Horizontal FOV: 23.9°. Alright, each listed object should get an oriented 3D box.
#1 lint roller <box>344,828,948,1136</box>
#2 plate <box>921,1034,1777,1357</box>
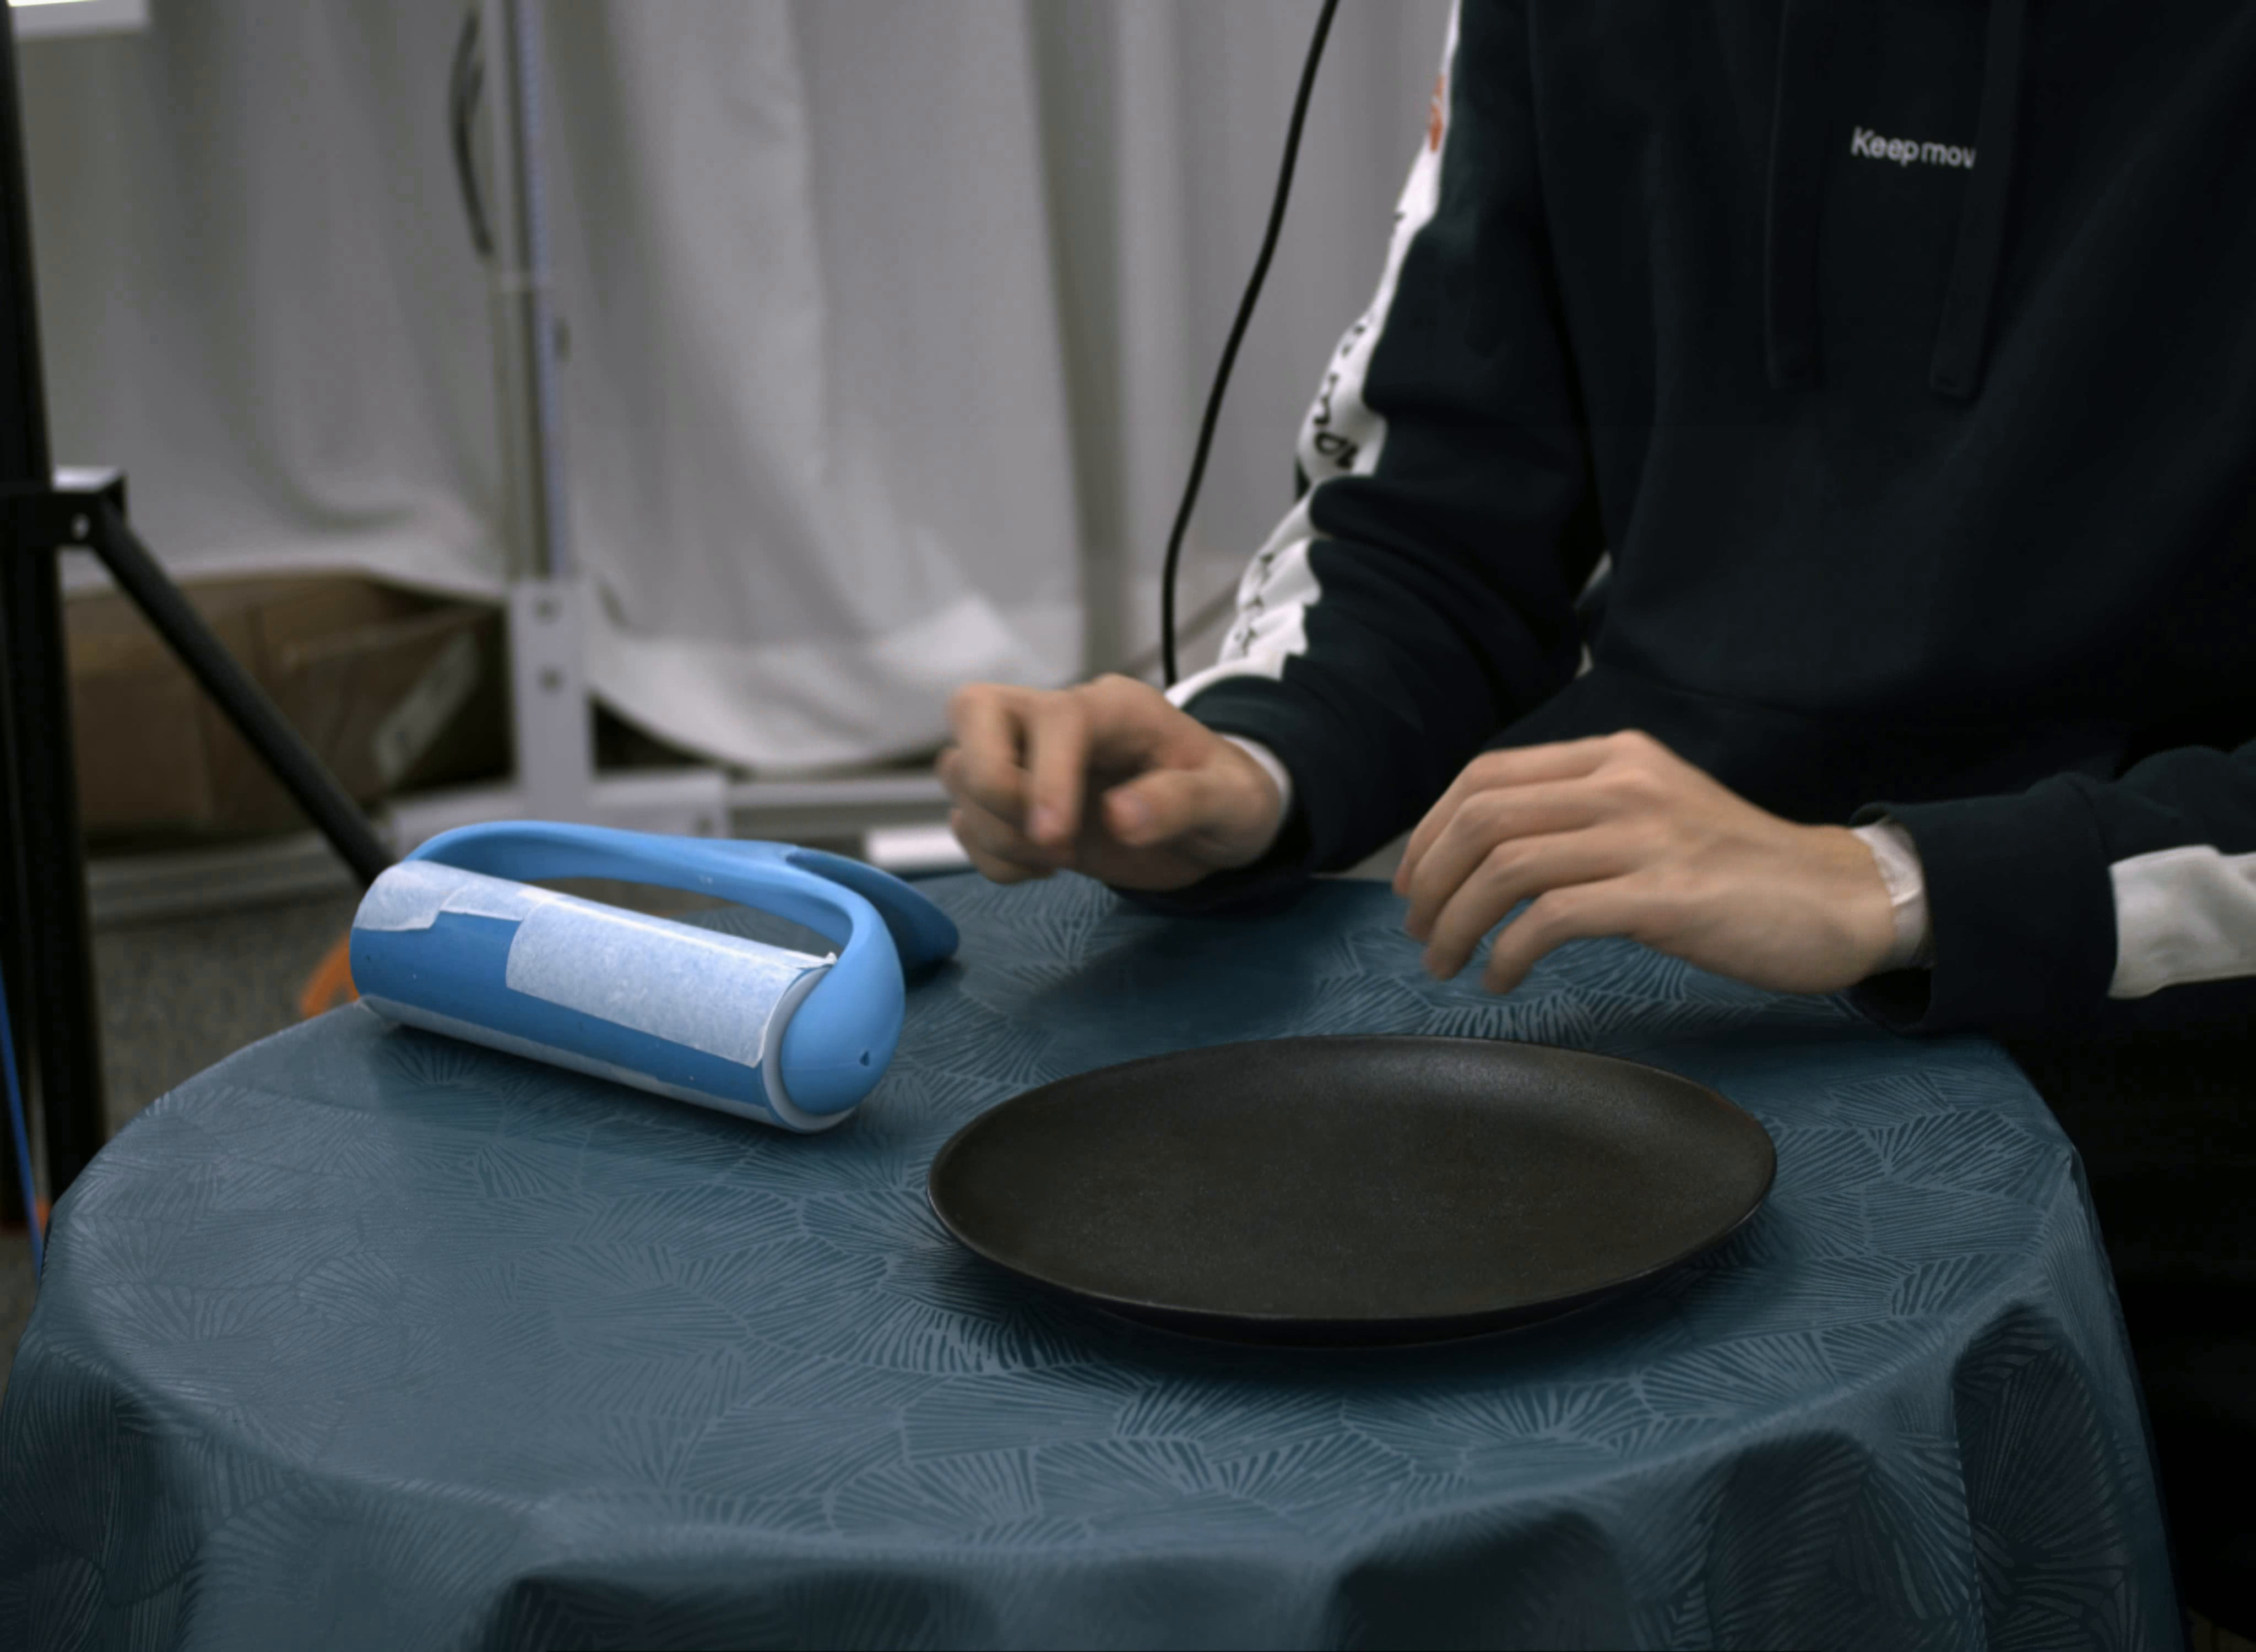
[{"bbox_3d":[-0.127,0.038,1.723,0.234,0.068,0.176,9,20,40],"label":"lint roller"},{"bbox_3d":[0.063,0.108,1.508,0.243,0.023,0.245,-3,16,-1],"label":"plate"}]
